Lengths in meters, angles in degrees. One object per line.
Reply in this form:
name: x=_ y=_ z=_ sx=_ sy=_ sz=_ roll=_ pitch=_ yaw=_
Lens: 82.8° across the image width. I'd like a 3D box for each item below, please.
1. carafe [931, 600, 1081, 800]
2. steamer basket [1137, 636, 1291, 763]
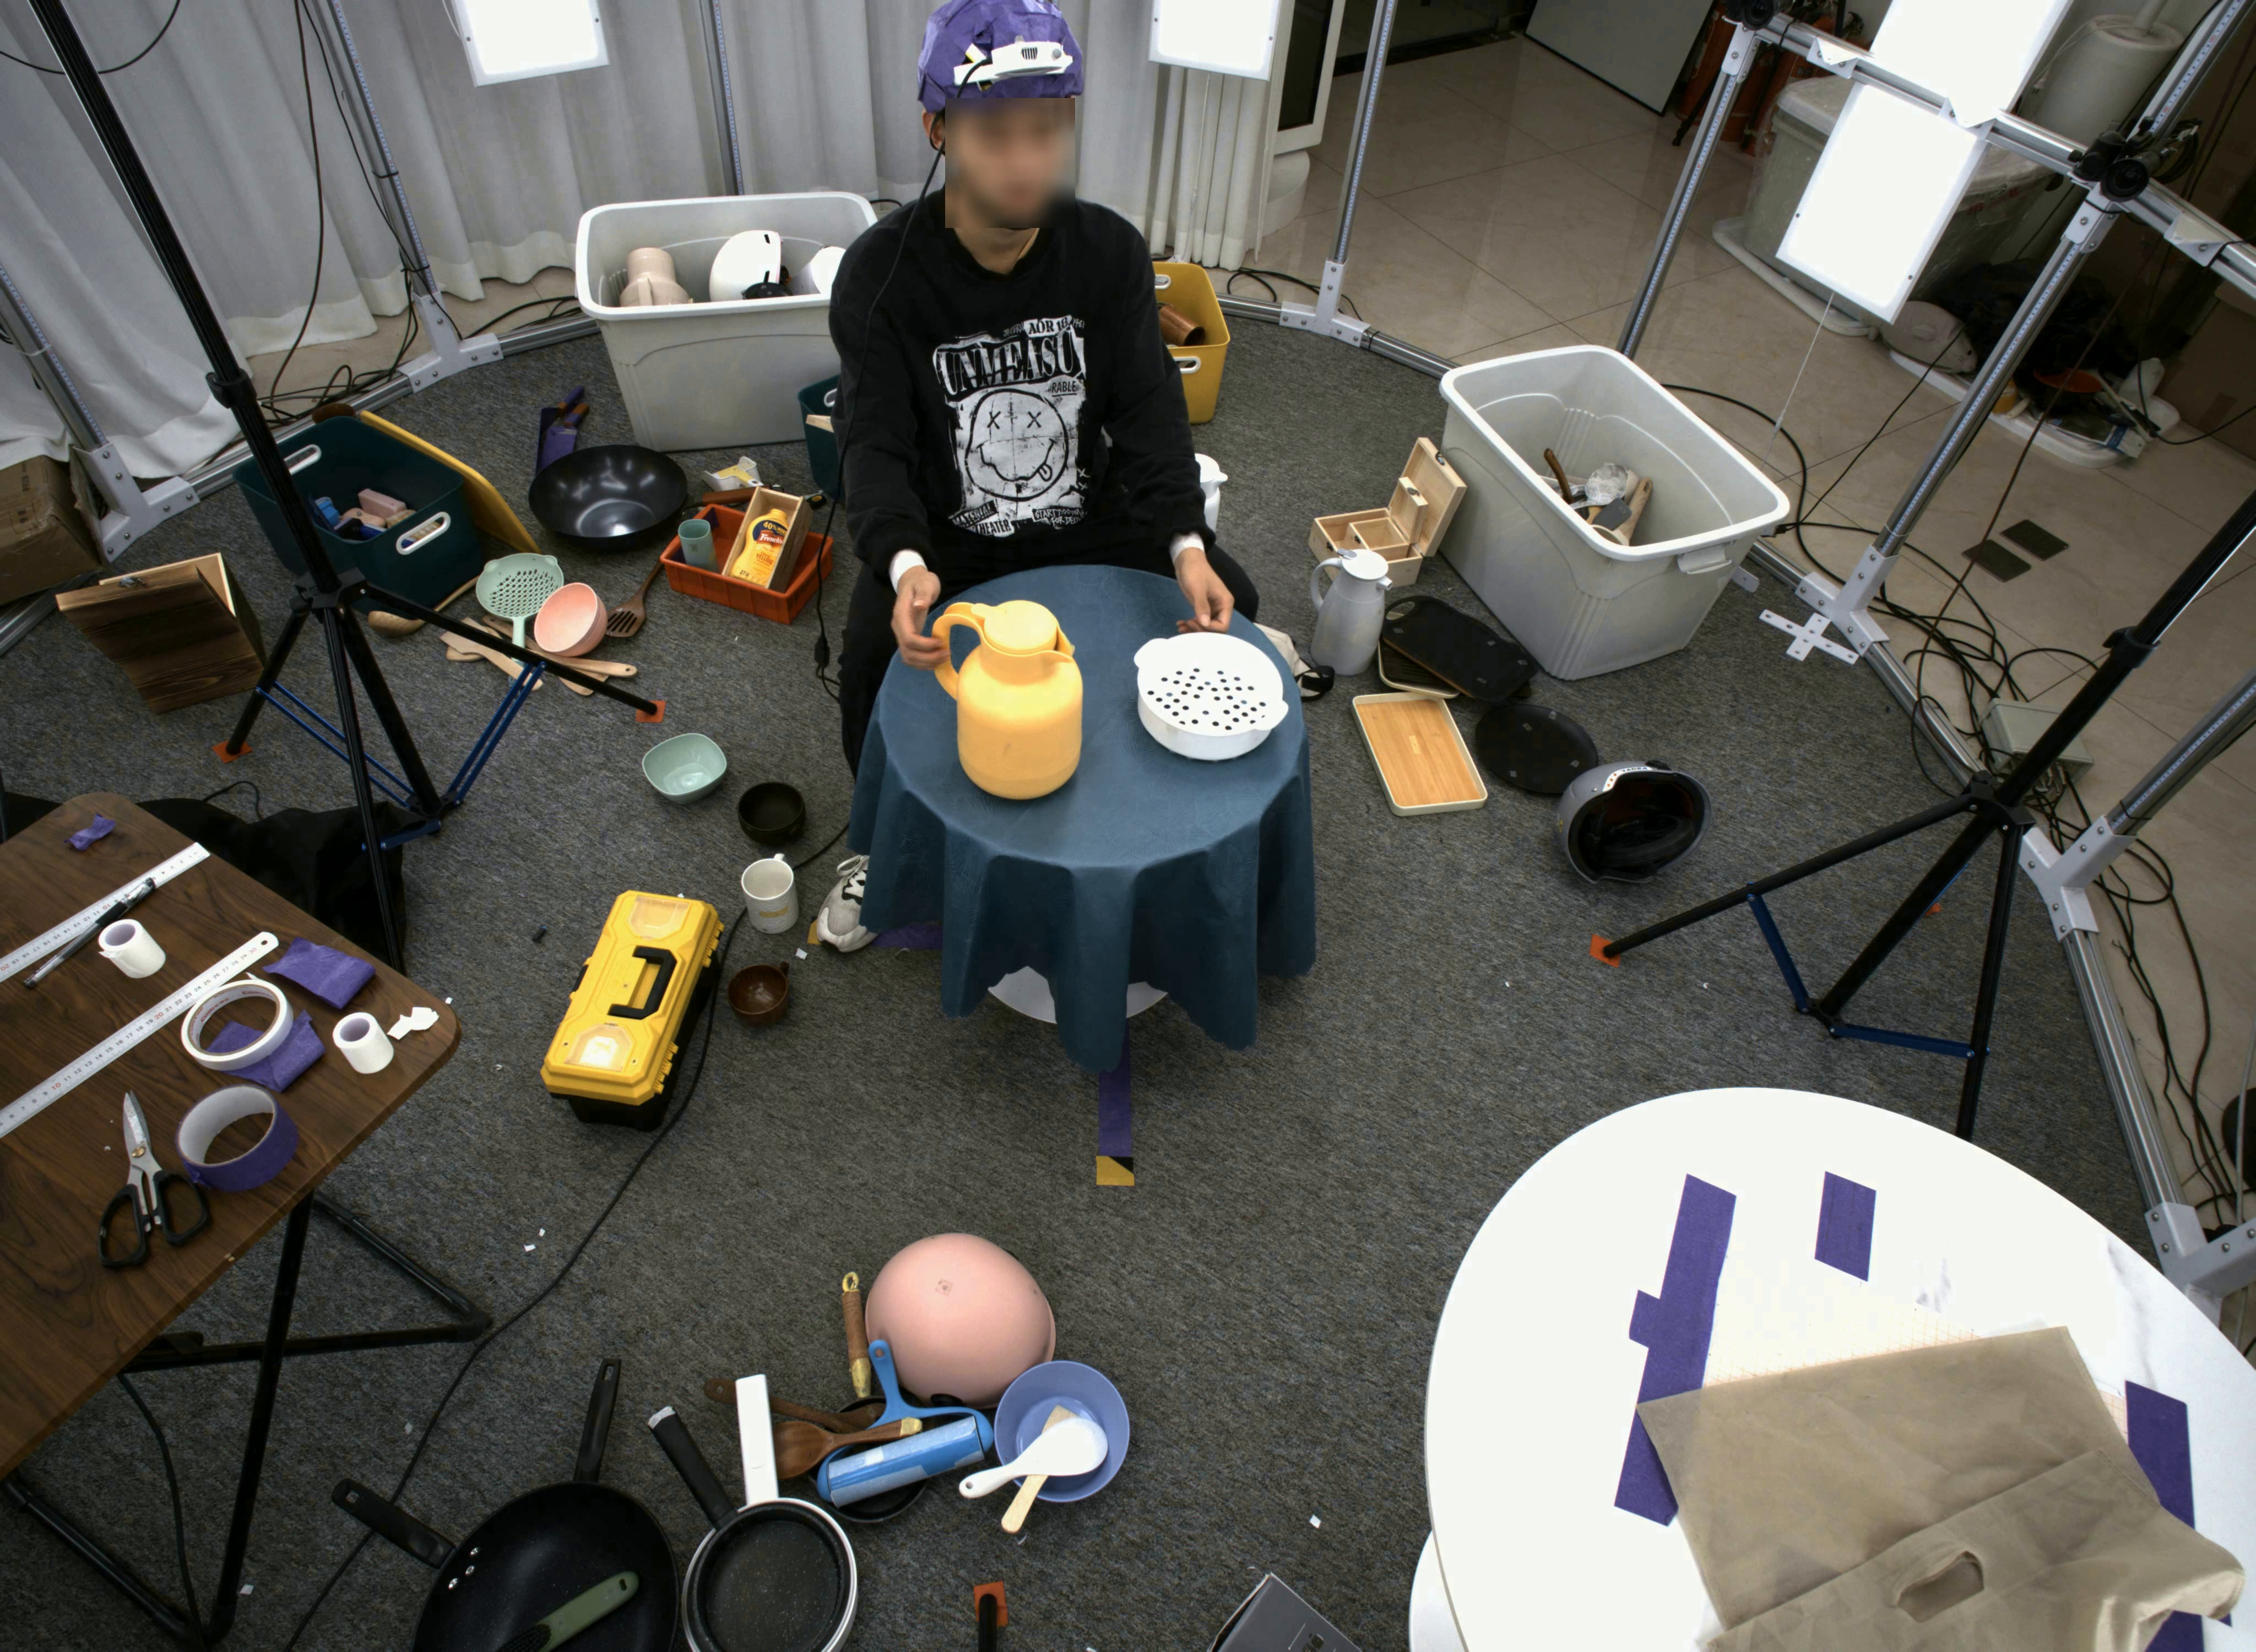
carafe: x=-0.157 y=-0.173 z=1.641 sx=0.204 sy=0.254 sz=0.166 roll=25 pitch=50 yaw=15
steamer basket: x=0.116 y=-0.175 z=1.790 sx=0.233 sy=0.067 sz=0.204 roll=29 pitch=54 yaw=21
